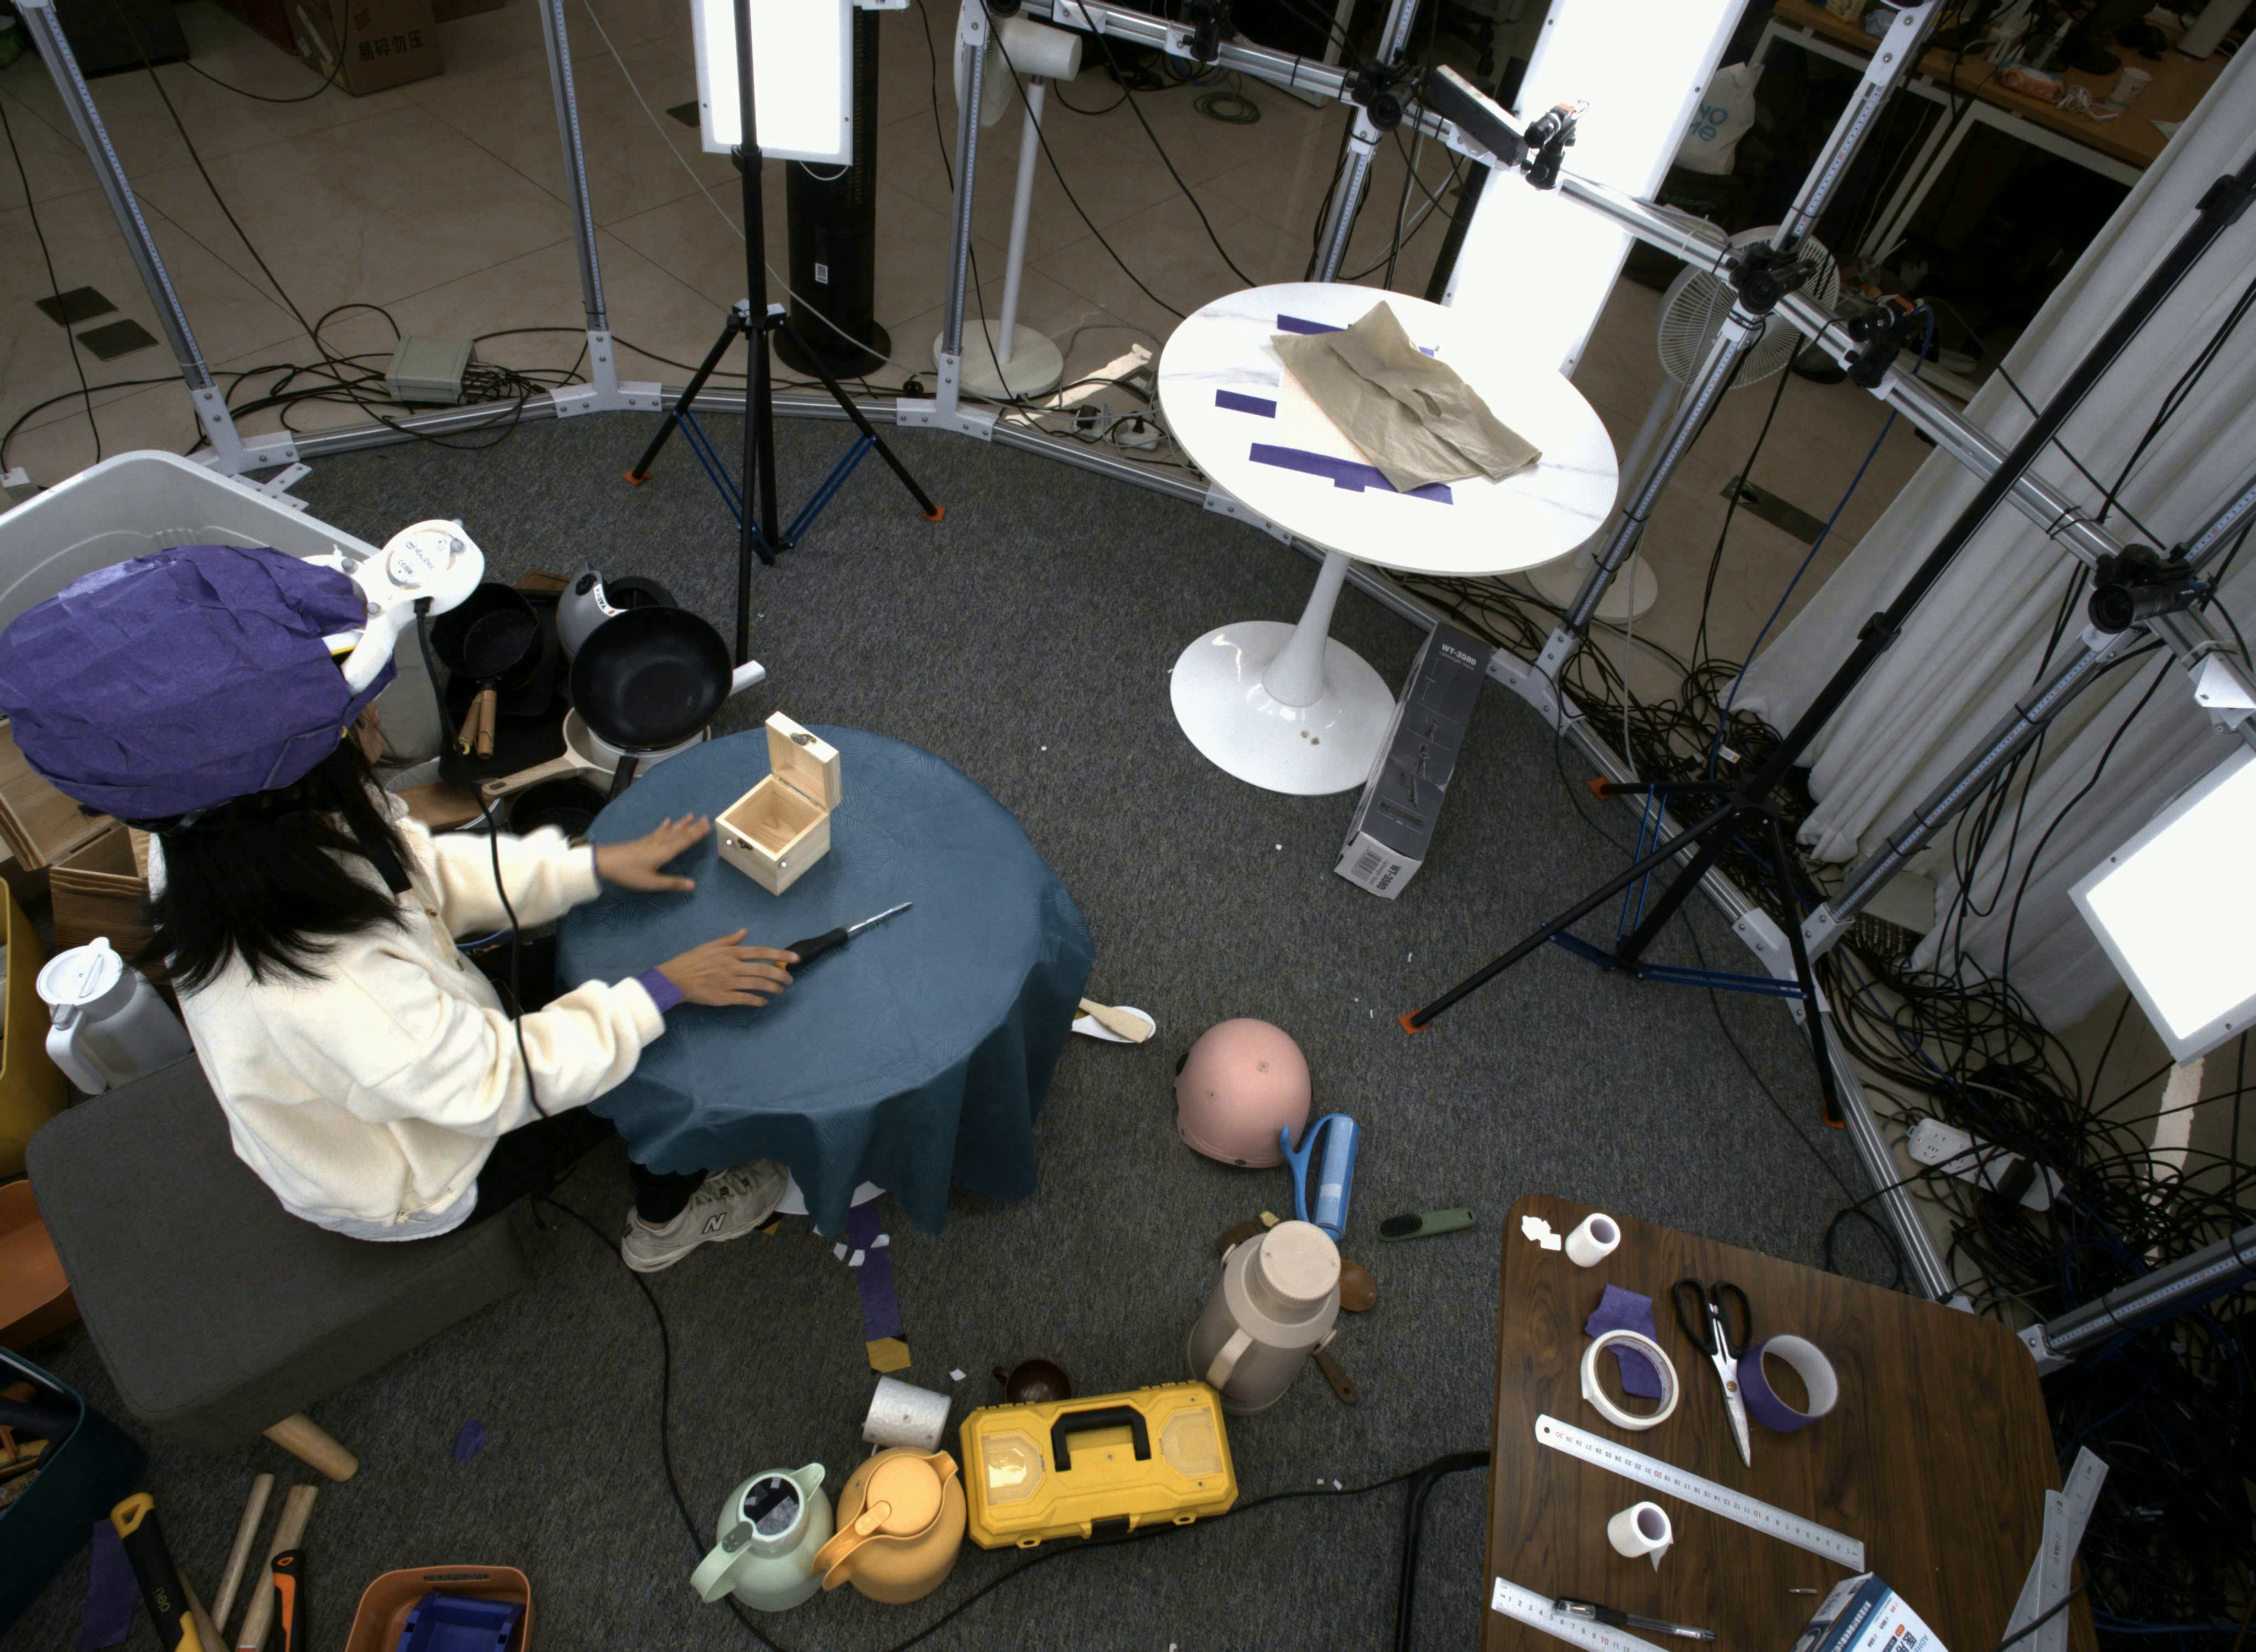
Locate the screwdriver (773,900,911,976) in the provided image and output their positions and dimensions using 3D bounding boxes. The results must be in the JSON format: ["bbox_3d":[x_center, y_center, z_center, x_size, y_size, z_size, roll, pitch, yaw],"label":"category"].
[{"bbox_3d":[-0.353,0.136,1.622,0.199,0.032,0.030,-24,61,-31],"label":"screwdriver"}]

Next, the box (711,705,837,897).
[{"bbox_3d":[-0.444,-0.030,1.617,0.101,0.188,0.133,30,52,12],"label":"box"}]
